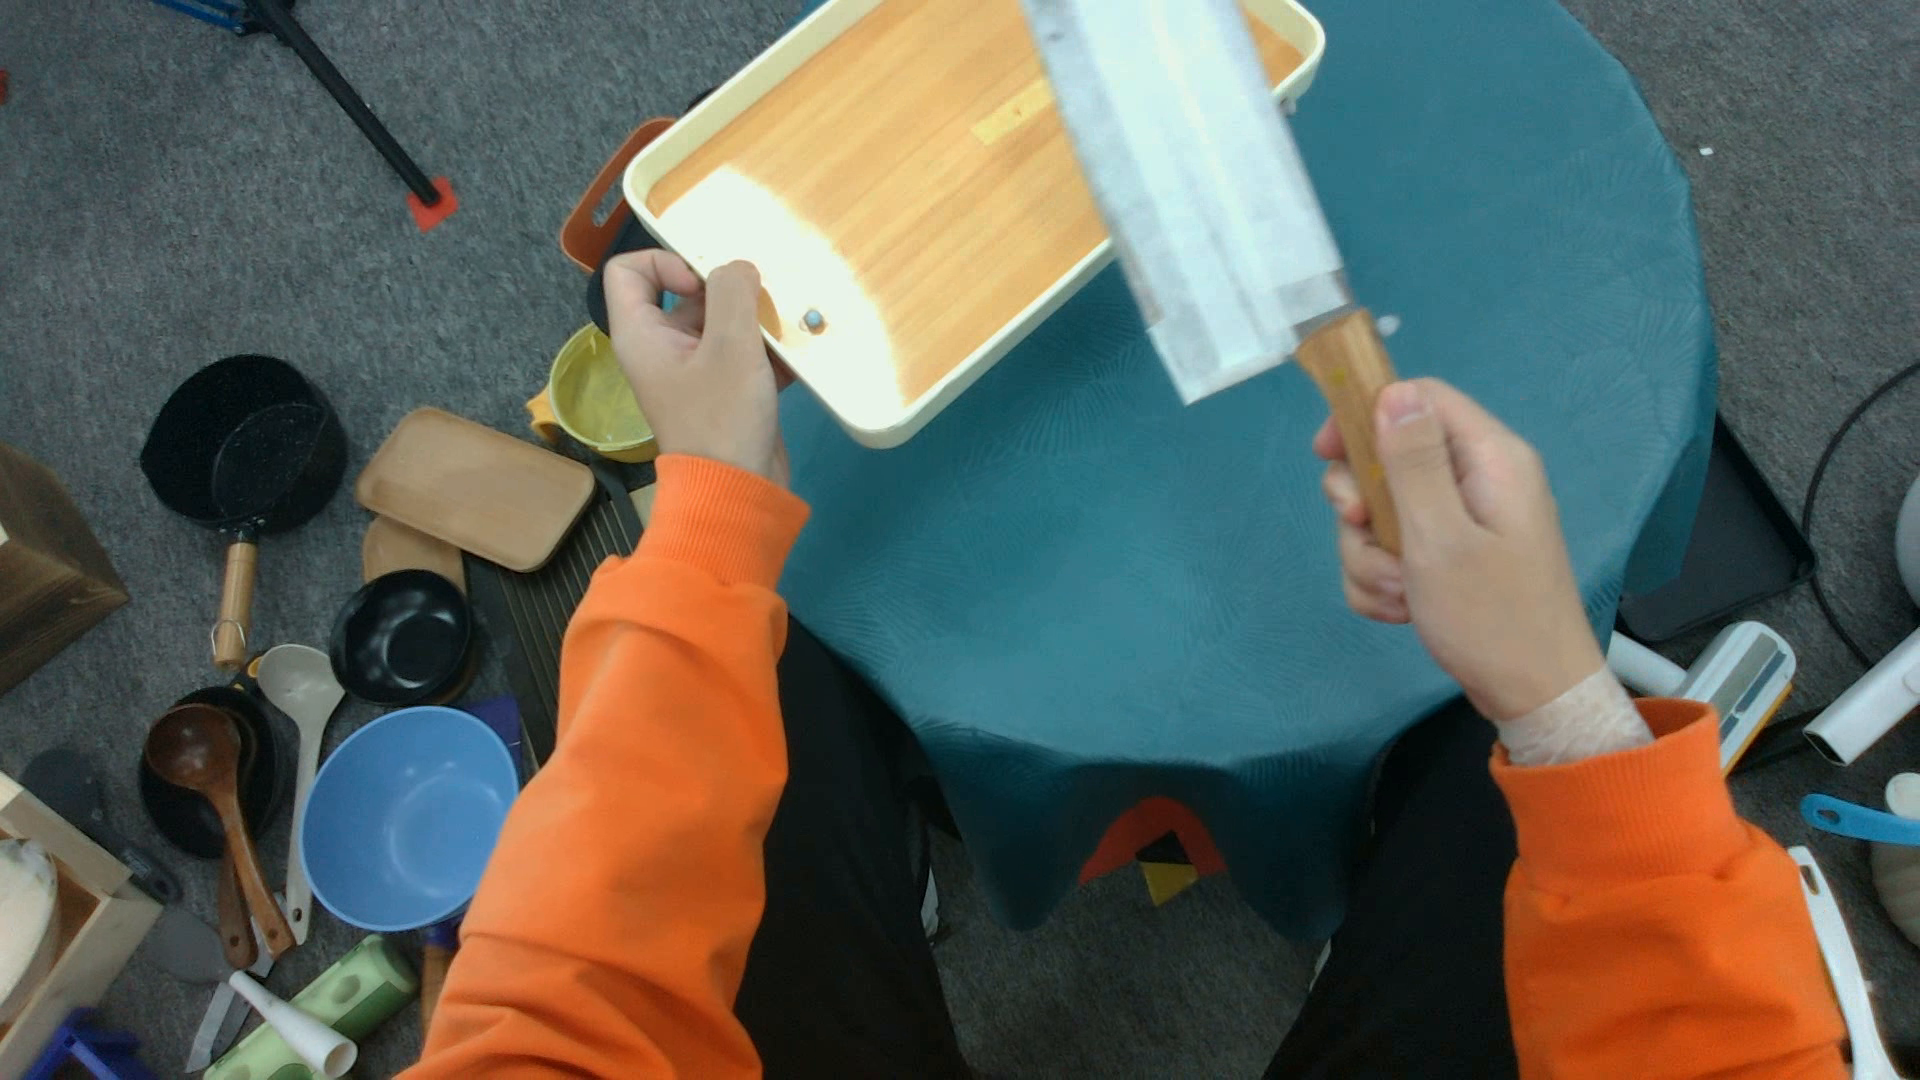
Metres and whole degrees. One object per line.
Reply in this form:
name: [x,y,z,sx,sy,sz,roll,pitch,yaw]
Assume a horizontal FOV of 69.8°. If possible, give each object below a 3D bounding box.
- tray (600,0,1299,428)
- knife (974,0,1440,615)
tray: [-0.003,-0.210,0.662,0.301,0.027,0.191,-42,76,-11]
knife: [0.089,-0.102,0.538,0.021,0.092,0.305,-31,96,-42]
